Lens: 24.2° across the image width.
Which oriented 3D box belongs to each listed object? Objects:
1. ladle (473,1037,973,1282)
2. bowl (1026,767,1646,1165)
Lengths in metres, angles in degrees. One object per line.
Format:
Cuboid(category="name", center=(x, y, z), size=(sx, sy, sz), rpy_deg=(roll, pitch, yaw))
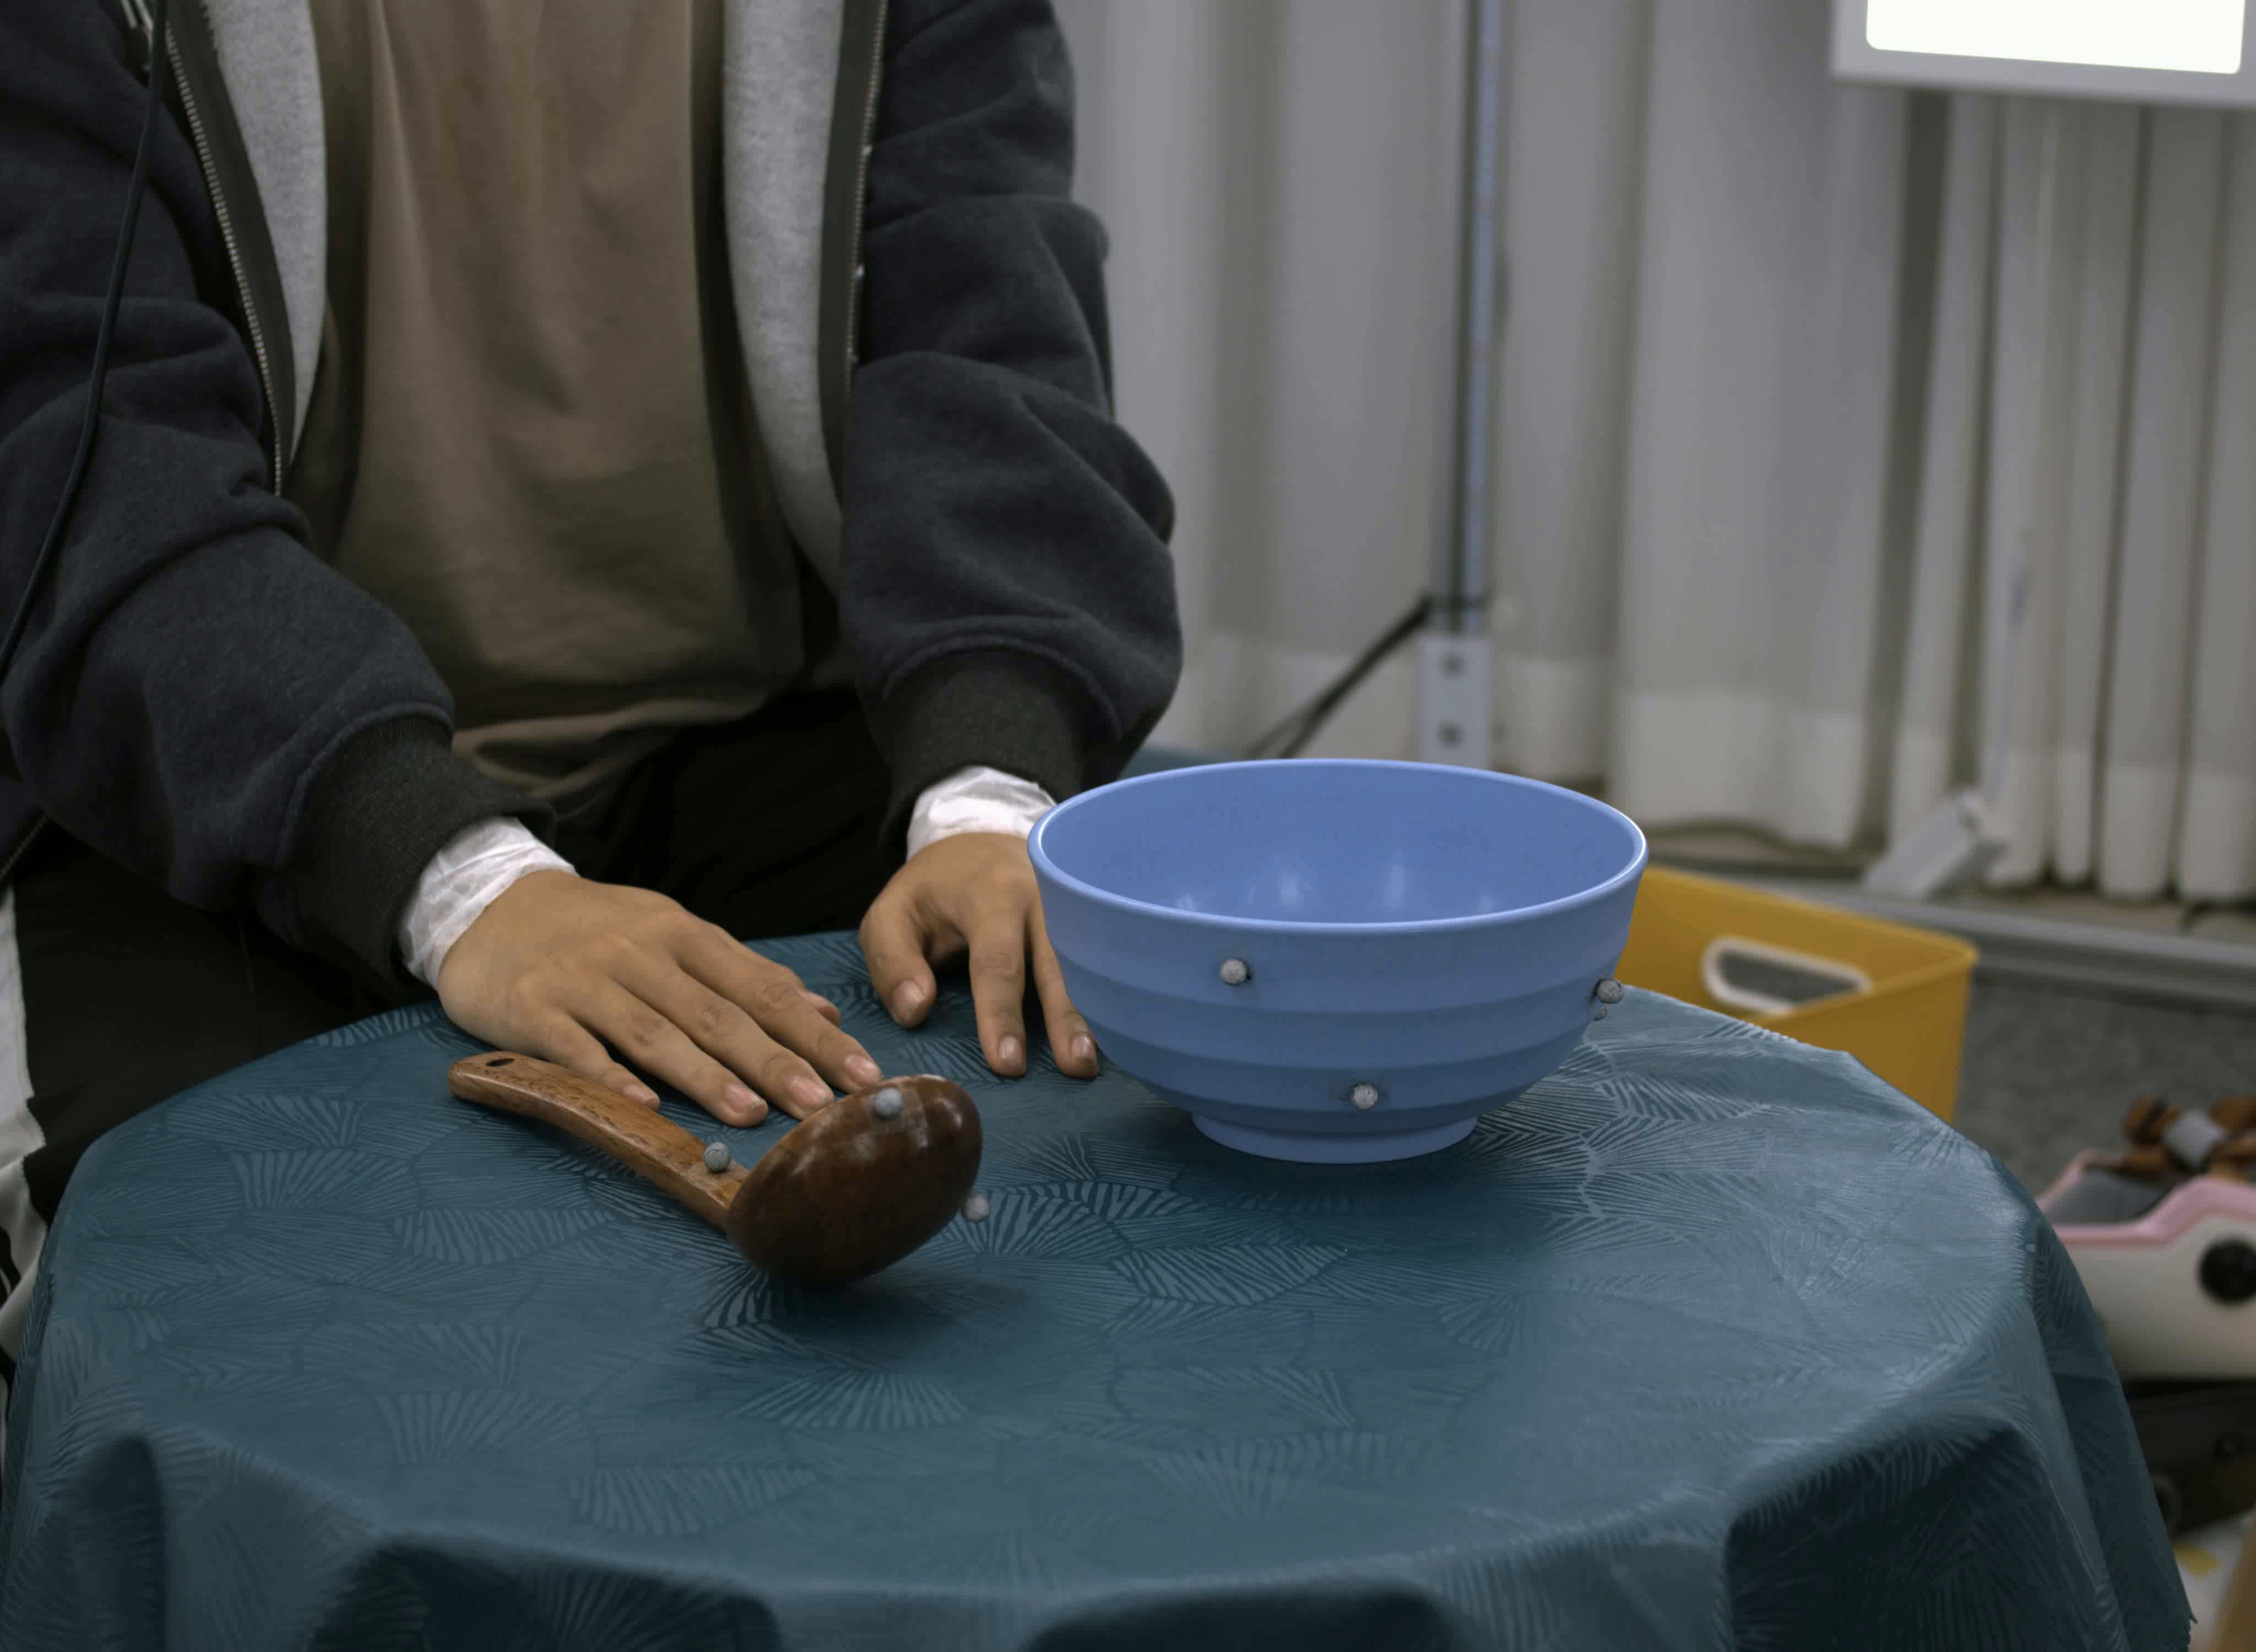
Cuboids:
Cuboid(category="ladle", center=(-0.138, 0.077, 1.597), size=(0.082, 0.077, 0.270), rpy_deg=(-13, 21, -30))
Cuboid(category="bowl", center=(0.066, 0.049, 1.677), size=(0.196, 0.096, 0.195), rpy_deg=(0, 15, 1))
